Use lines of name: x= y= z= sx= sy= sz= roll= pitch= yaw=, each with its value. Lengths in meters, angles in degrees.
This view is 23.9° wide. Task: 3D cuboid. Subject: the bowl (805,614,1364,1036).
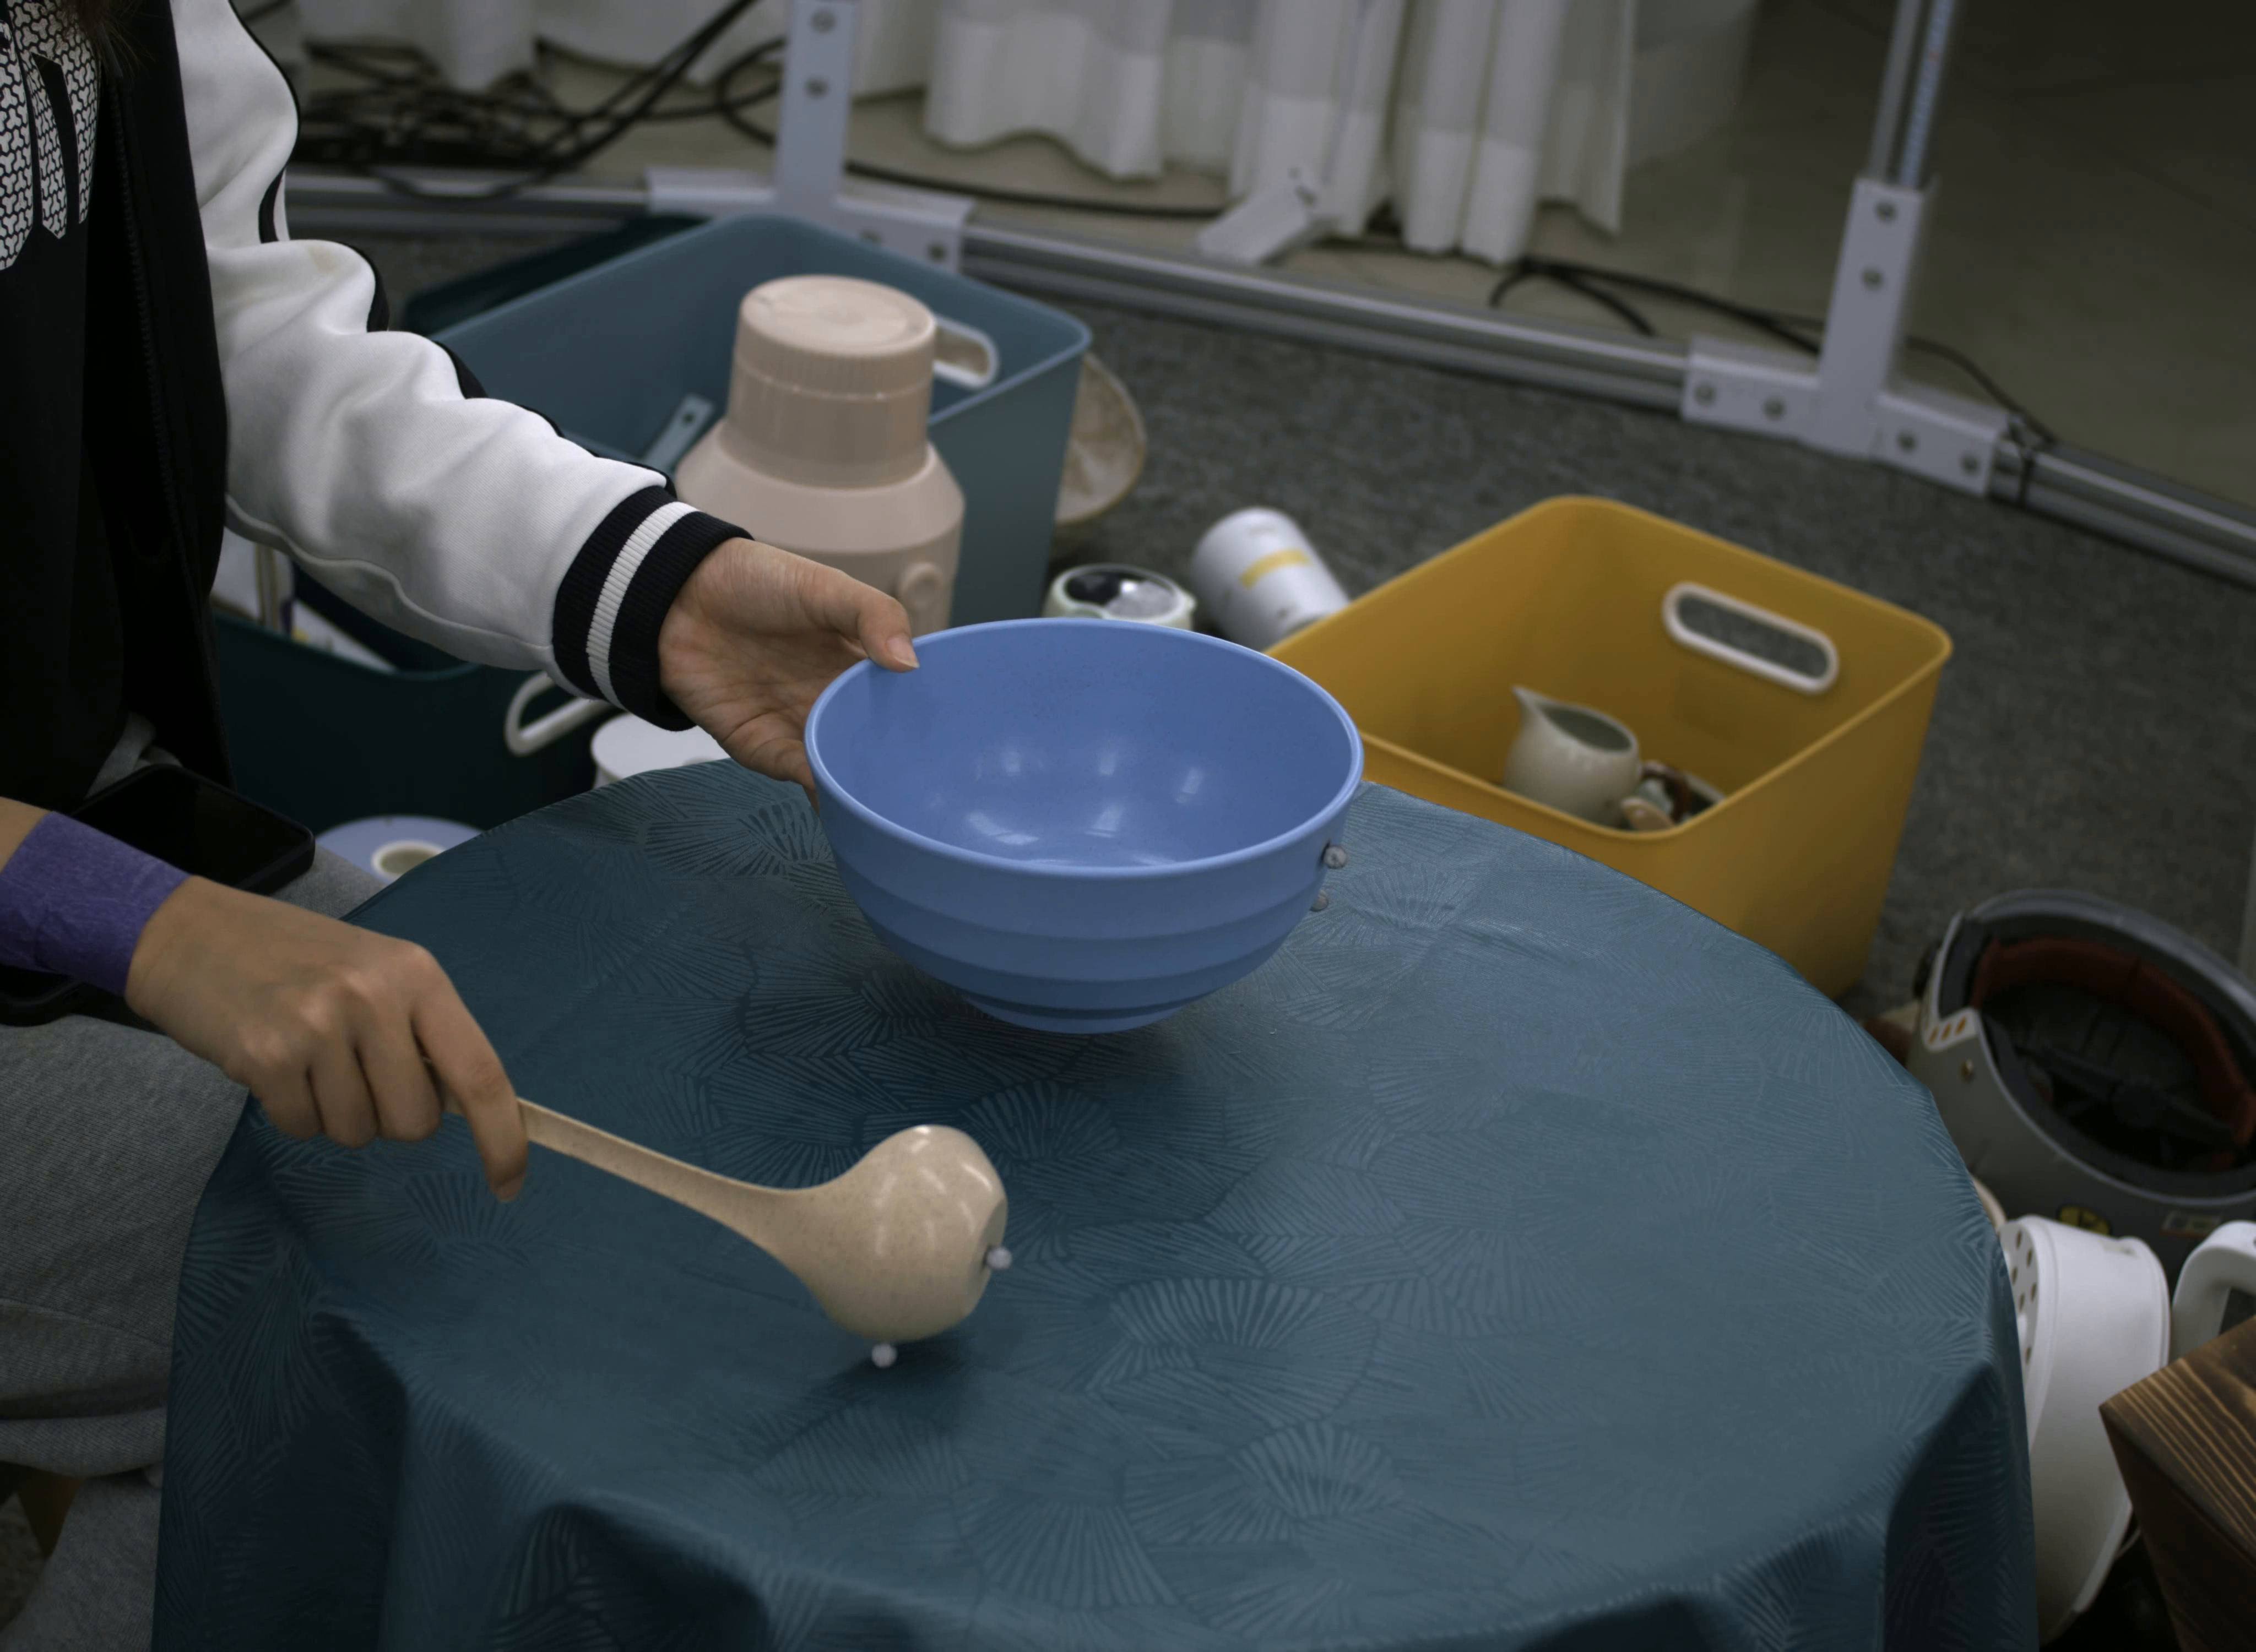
bowl: x=-0.017 y=0.011 z=1.885 sx=0.196 sy=0.095 sz=0.198 roll=2 pitch=29 yaw=-1

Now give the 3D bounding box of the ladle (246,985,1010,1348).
ladle: x=-0.159 y=0.097 z=1.713 sx=0.255 sy=0.072 sz=0.072 roll=21 pitch=12 yaw=16
